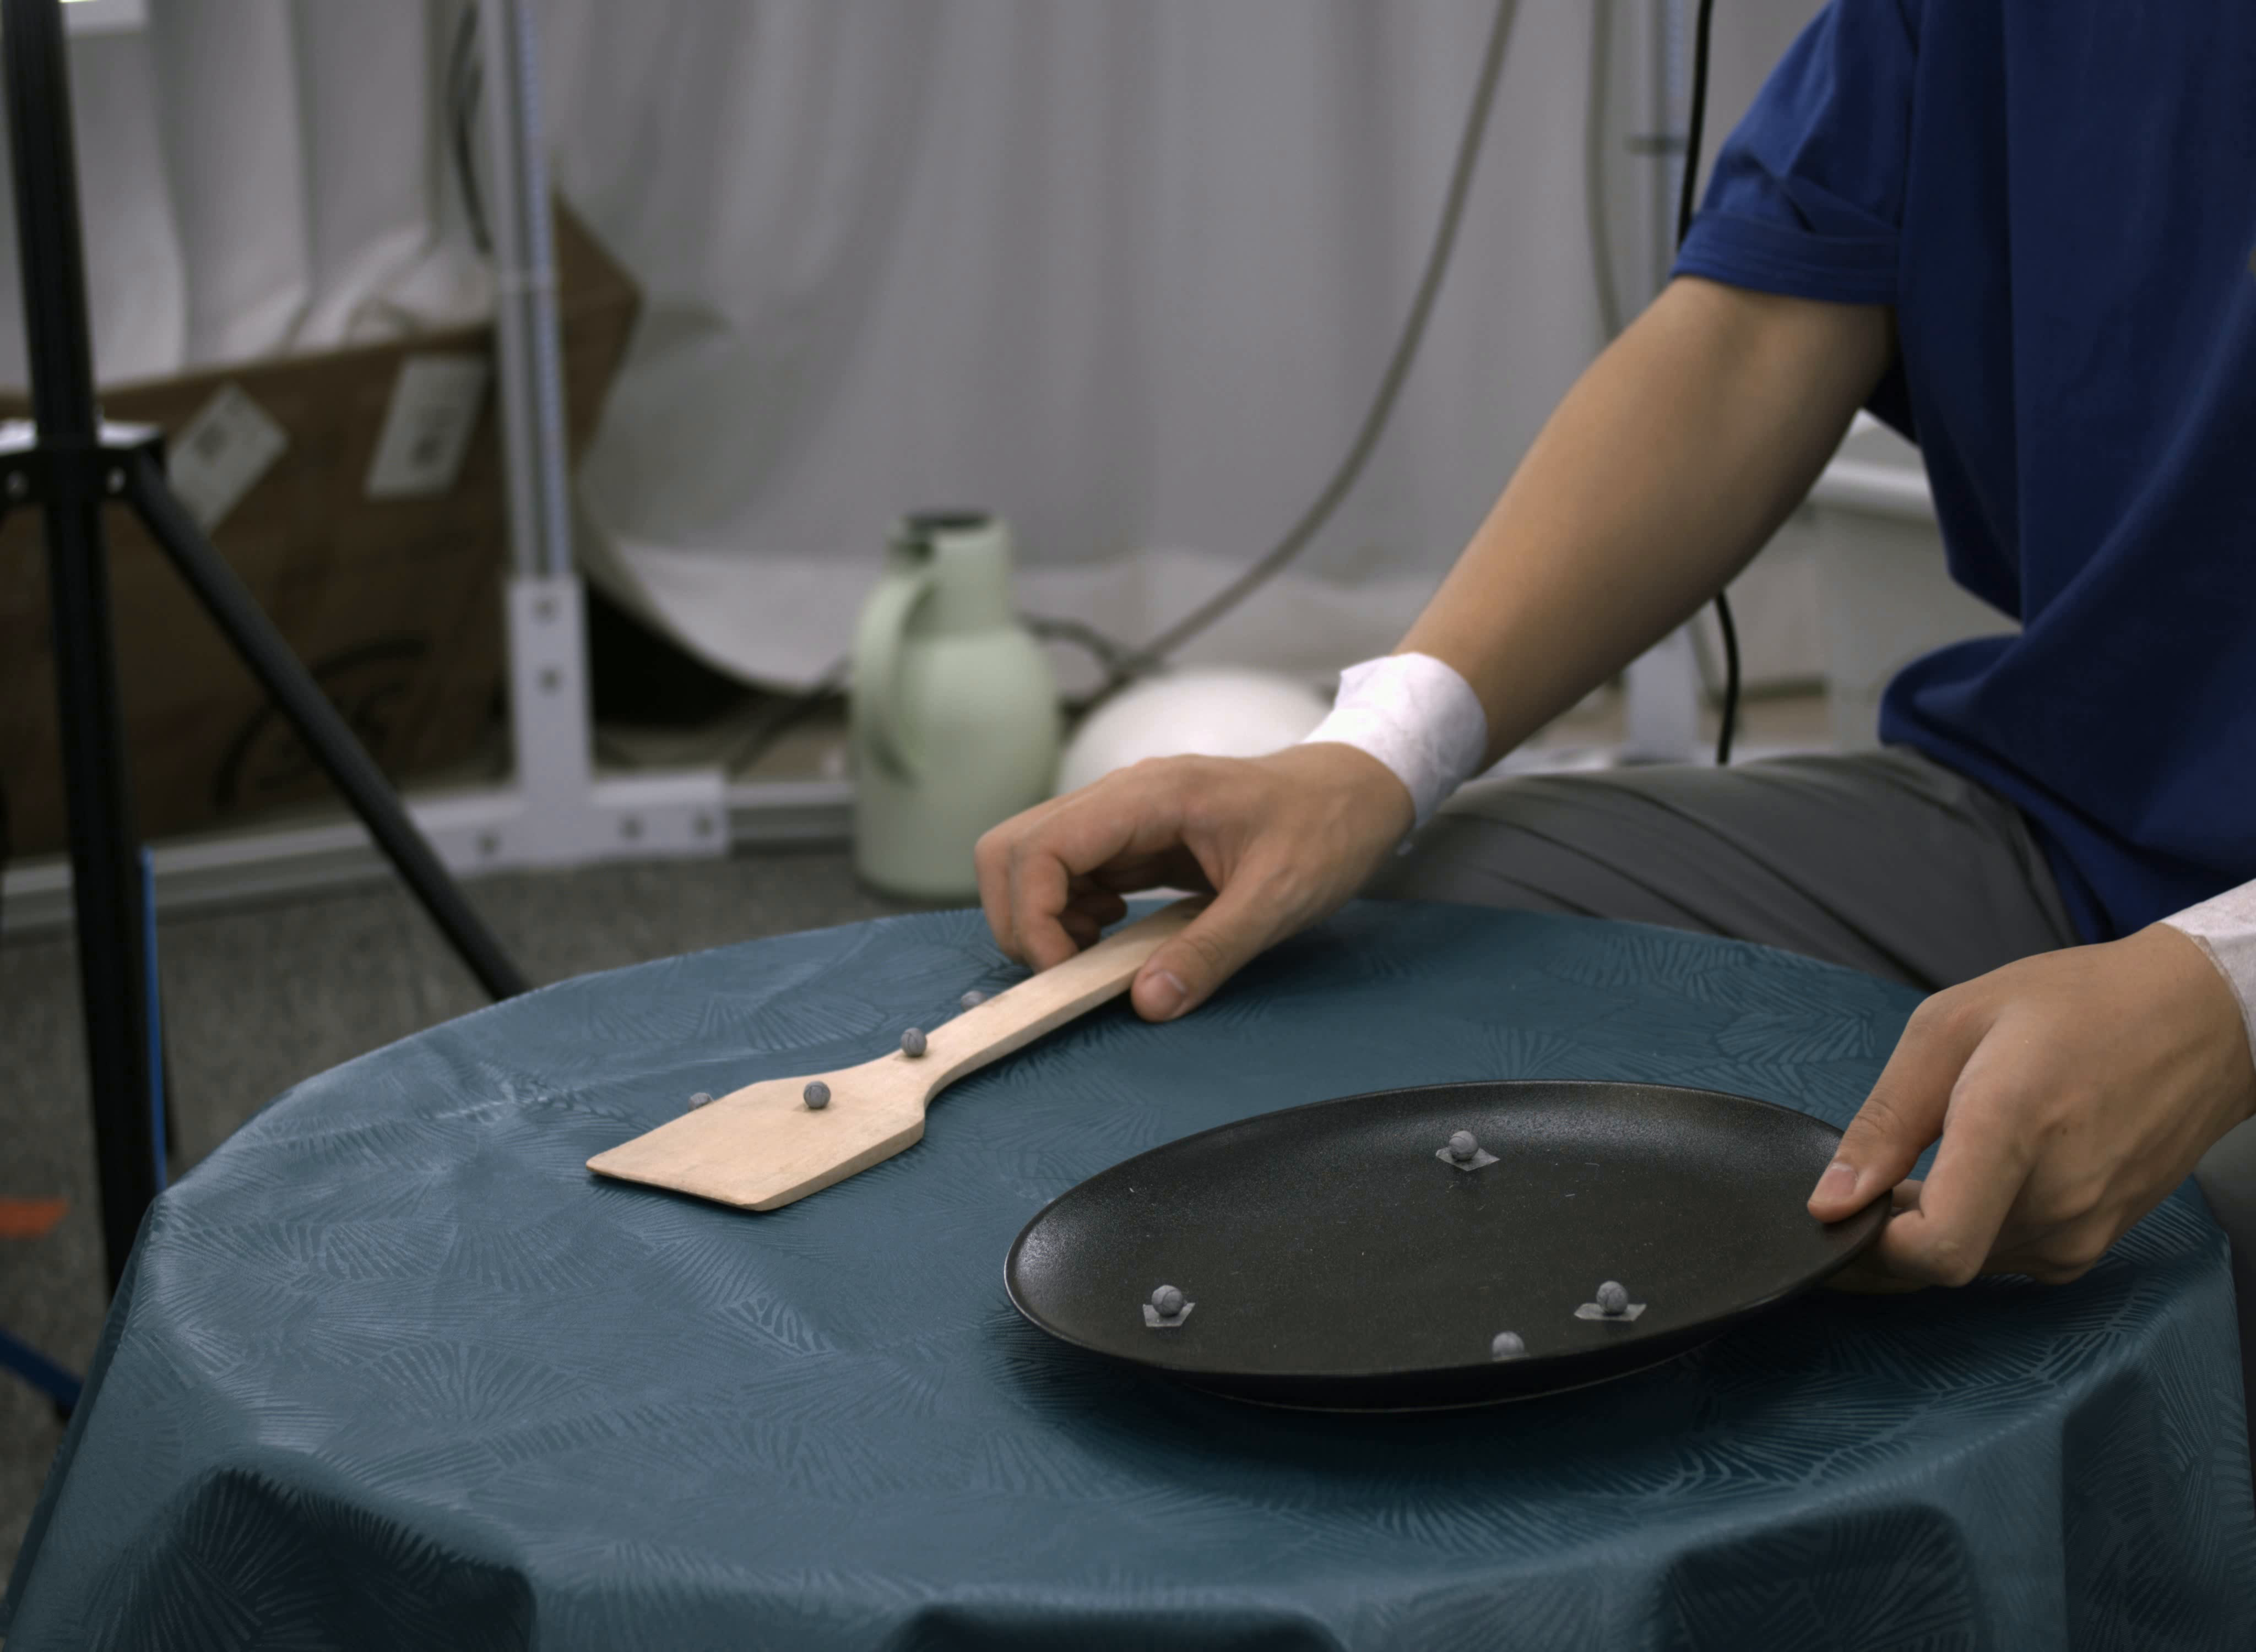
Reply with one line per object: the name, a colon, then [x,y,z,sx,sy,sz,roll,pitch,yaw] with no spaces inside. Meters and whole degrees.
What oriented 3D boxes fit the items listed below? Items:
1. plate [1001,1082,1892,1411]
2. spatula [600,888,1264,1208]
plate: [0.087,0.117,1.443,0.243,0.023,0.245,-7,14,0]
spatula: [-0.048,0.066,1.680,0.074,0.010,0.287,9,23,36]
